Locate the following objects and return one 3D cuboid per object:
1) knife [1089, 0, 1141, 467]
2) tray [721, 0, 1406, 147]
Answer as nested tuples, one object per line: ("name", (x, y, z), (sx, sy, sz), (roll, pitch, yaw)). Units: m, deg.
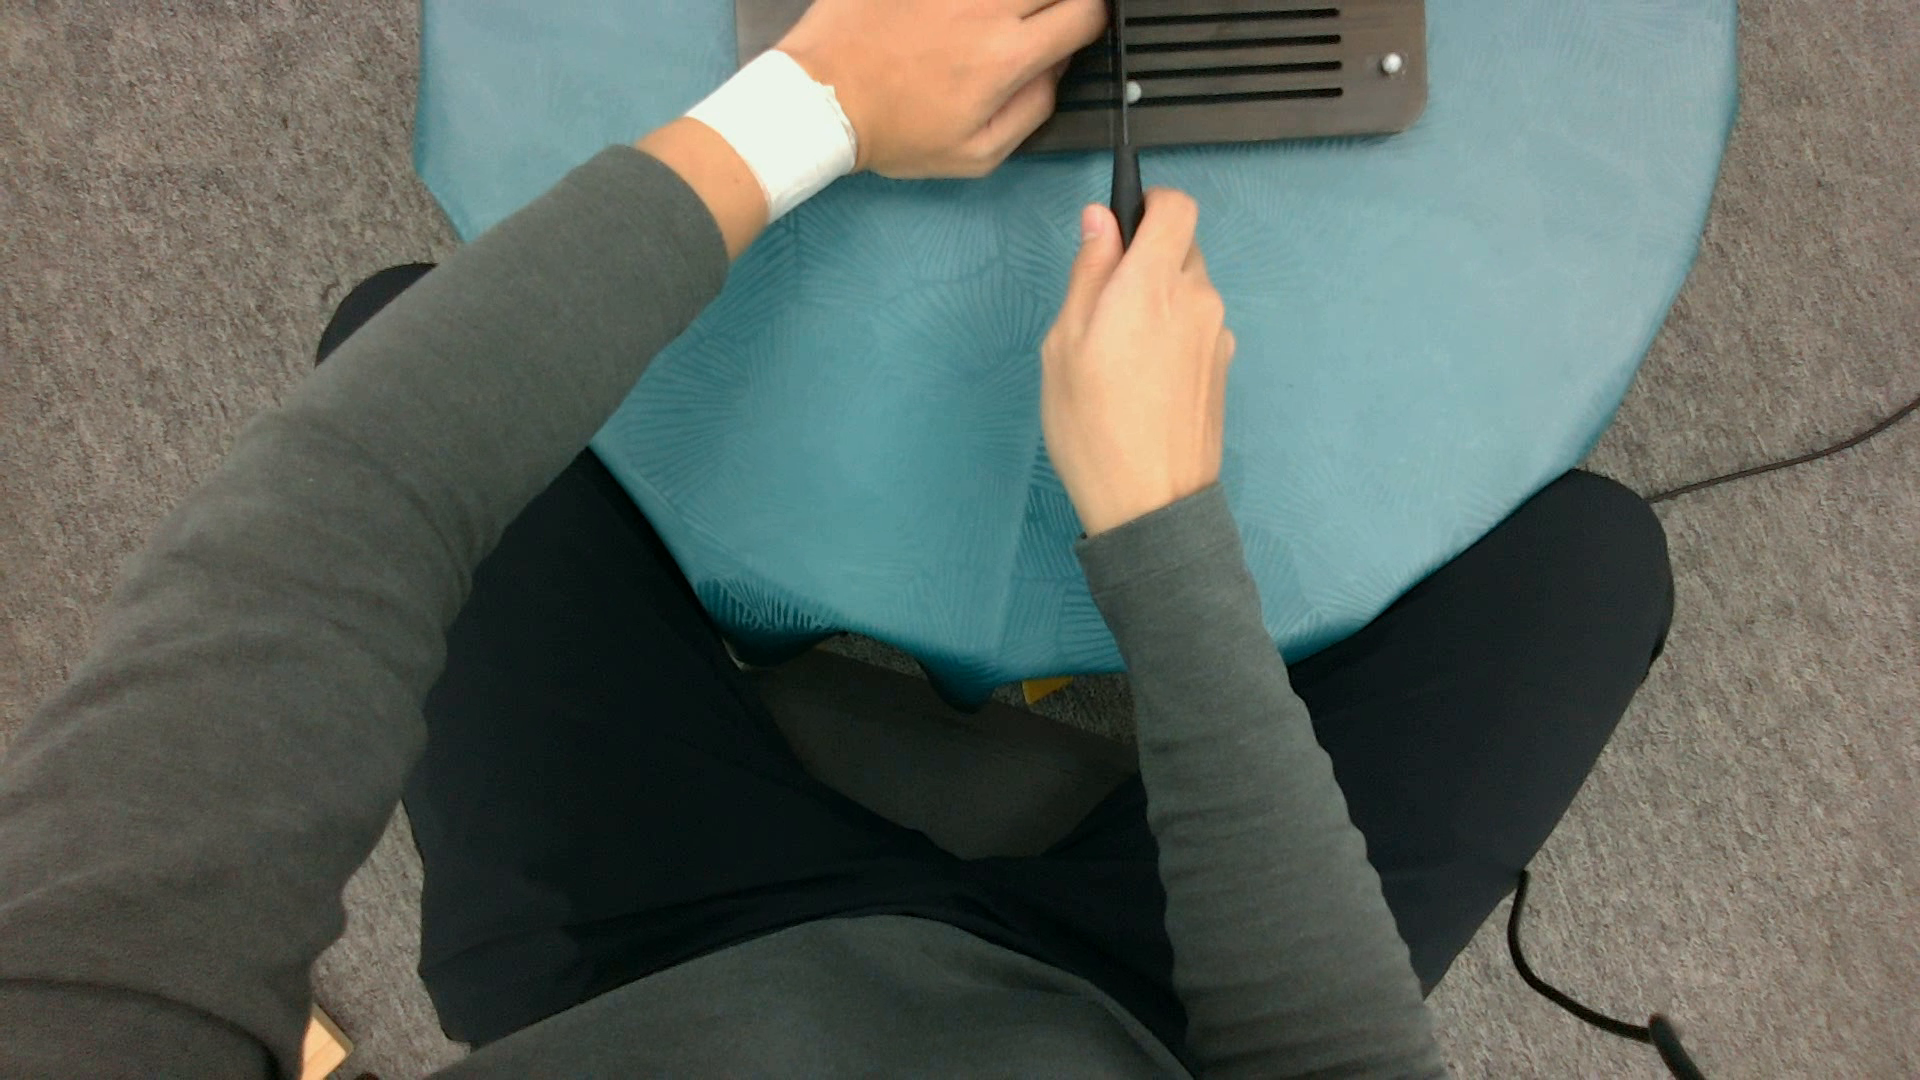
("knife", (0.061, -0.182, 0.575), (0.021, 0.081, 0.302), (-1, 88, 2))
("tray", (0.046, -0.267, 0.618), (0.306, 0.018, 0.170), (-3, 93, -2))
